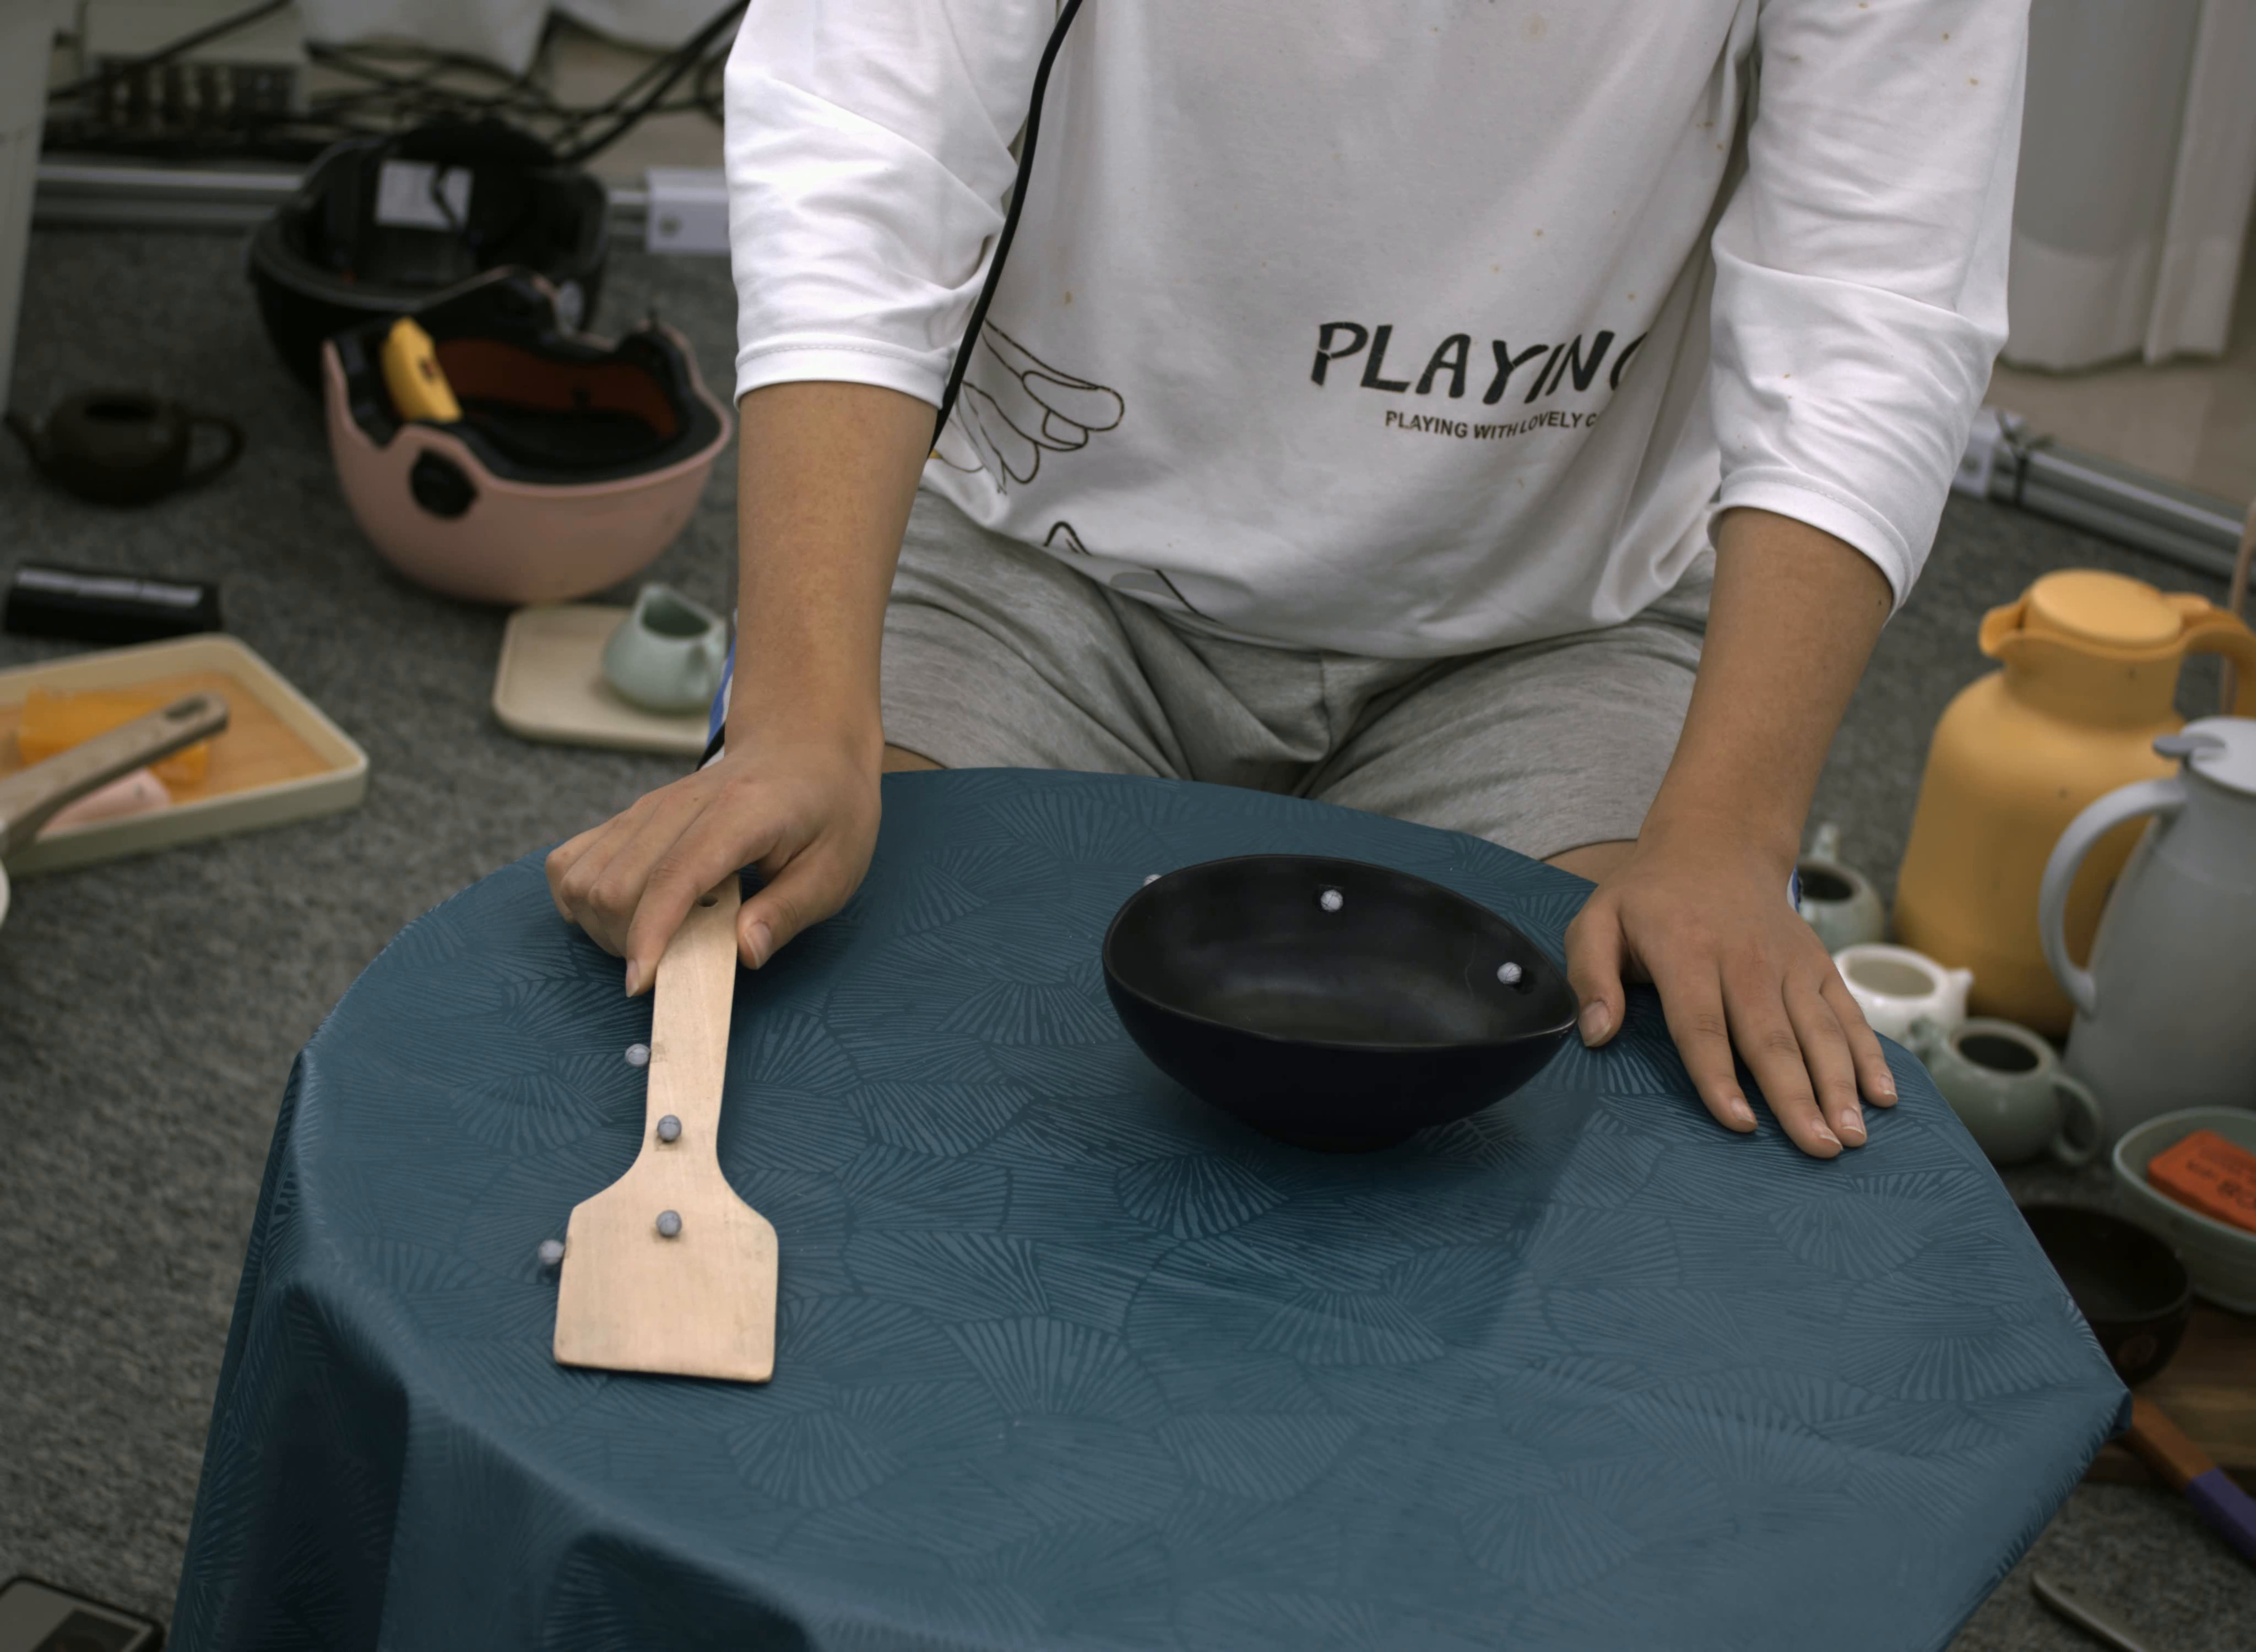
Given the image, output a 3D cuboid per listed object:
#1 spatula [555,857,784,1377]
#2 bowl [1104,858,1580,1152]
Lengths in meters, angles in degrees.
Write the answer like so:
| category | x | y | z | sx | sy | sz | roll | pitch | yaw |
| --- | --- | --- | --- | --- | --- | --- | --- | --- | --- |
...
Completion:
| category | x | y | z | sx | sy | sz | roll | pitch | yaw |
| --- | --- | --- | --- | --- | --- | --- | --- | --- | --- |
| spatula | -0.149 | 0.093 | 1.797 | 0.072 | 0.010 | 0.295 | 4 | 33 | -4 |
| bowl | 0.071 | 0.069 | 1.860 | 0.169 | 0.066 | 0.138 | 3 | 26 | -12 |
